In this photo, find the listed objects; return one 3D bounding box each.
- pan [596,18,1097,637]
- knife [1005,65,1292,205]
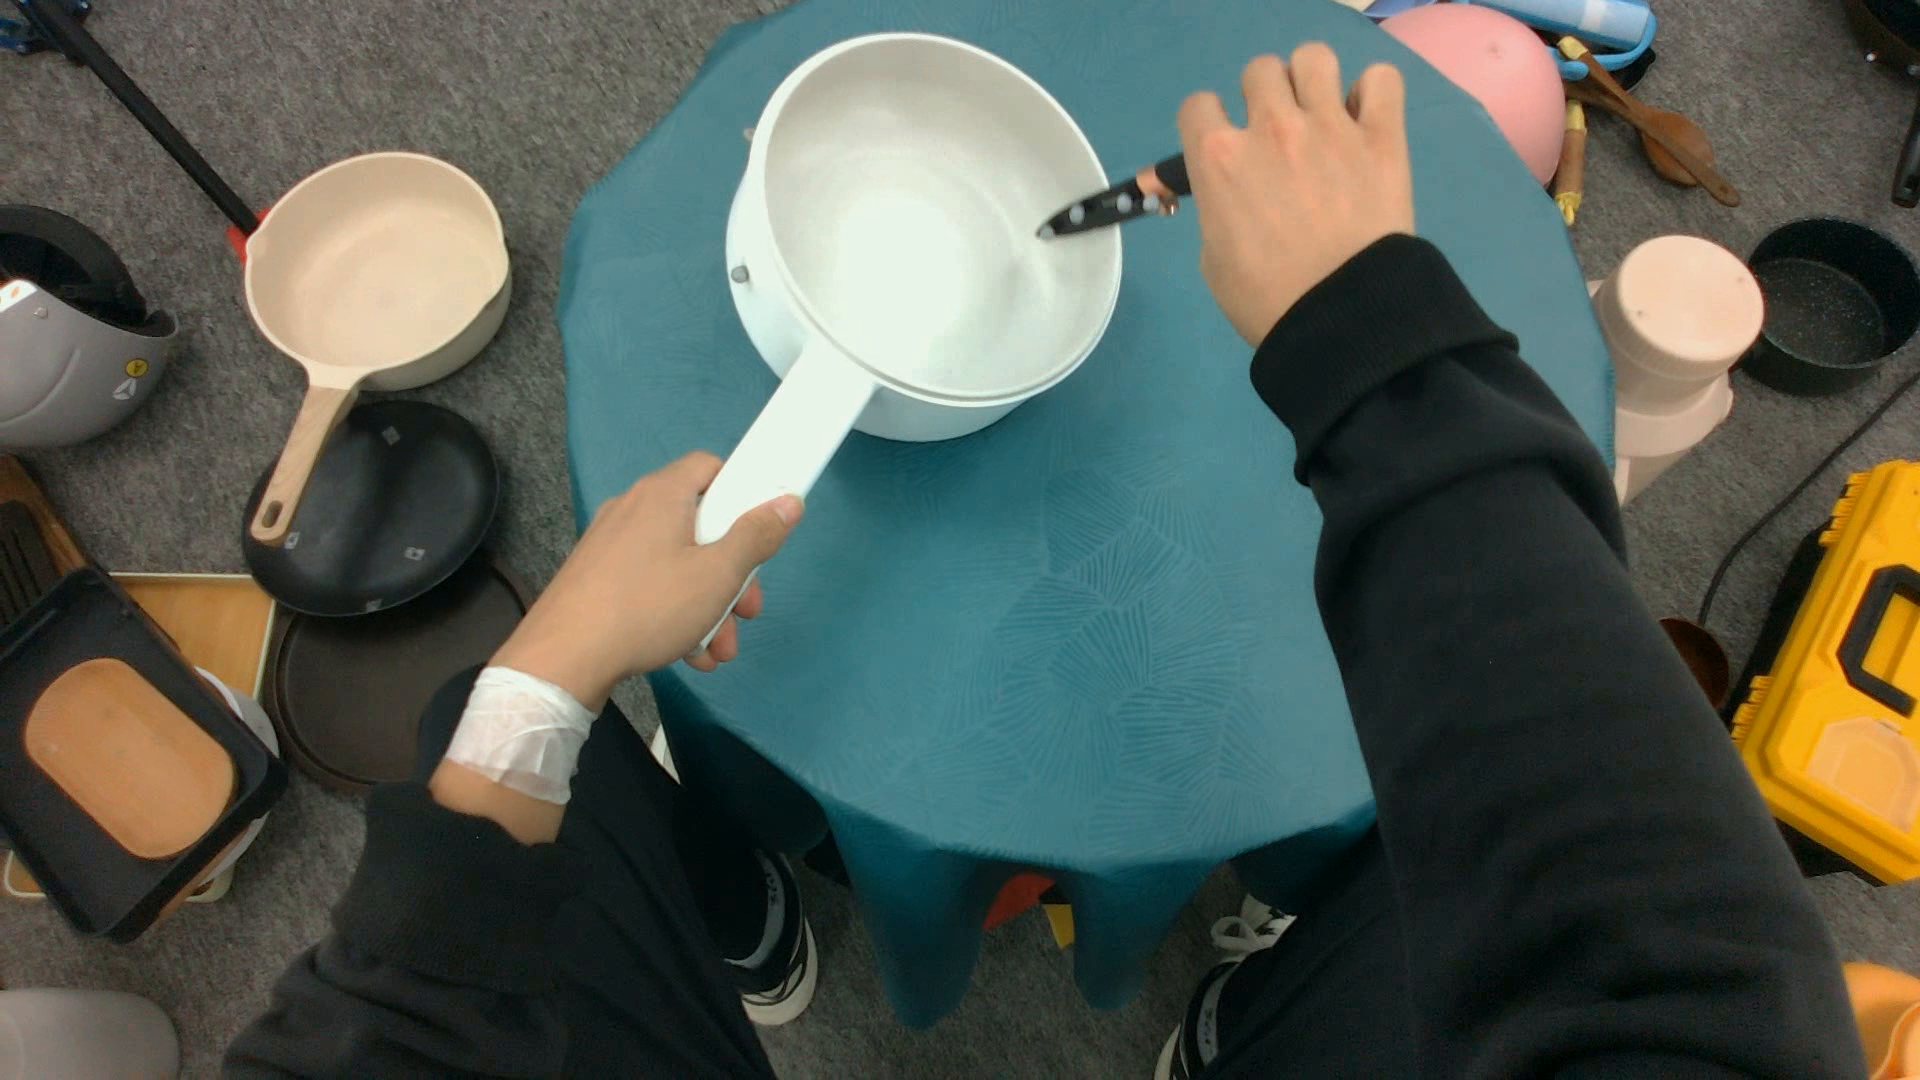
[{"bbox_3d":[-0.072,-0.101,0.704,0.201,0.101,0.356,36,66,-14],"label":"pan"},{"bbox_3d":[0.078,-0.189,0.662,0.026,0.225,0.017,31,75,-27],"label":"knife"}]
